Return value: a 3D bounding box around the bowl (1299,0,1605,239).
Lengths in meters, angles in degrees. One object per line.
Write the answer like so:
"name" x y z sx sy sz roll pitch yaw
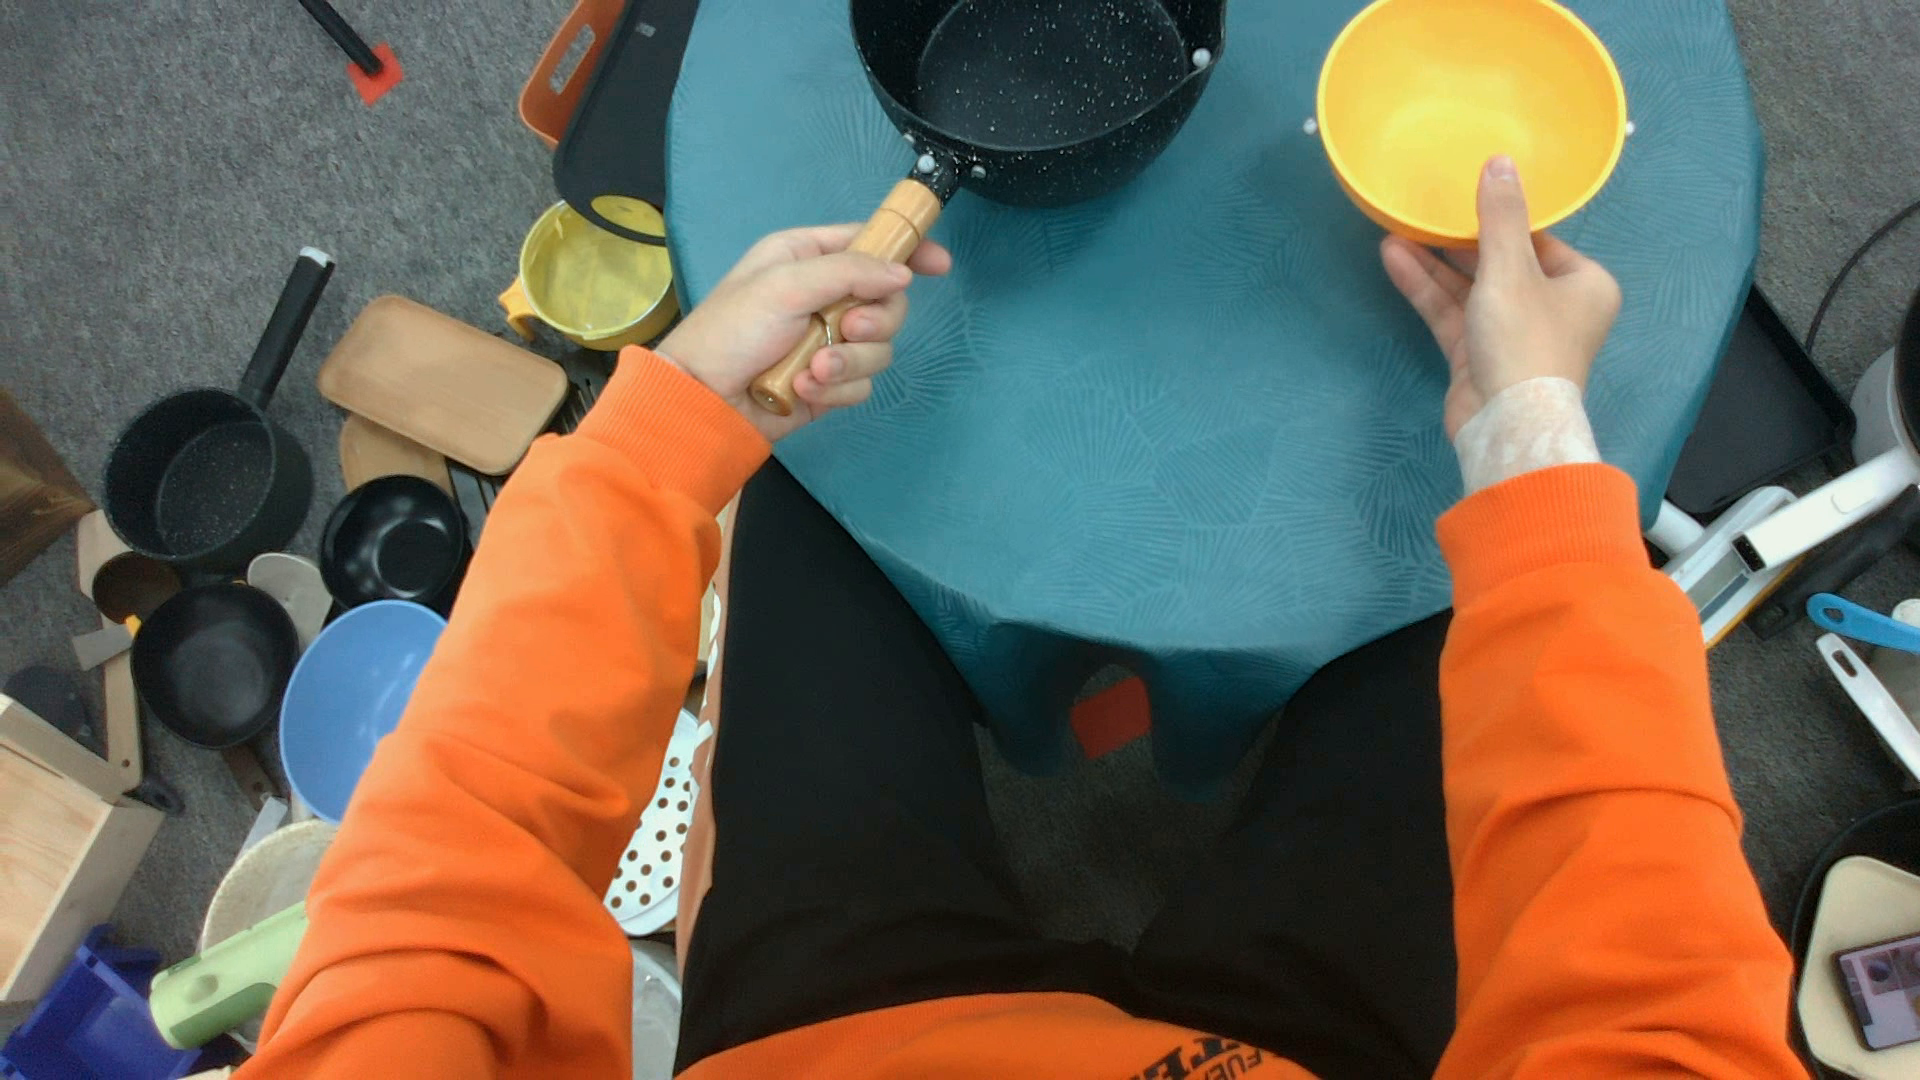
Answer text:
"bowl" 0.242 -0.208 0.700 0.145 0.060 0.145 -2 73 5

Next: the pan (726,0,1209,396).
"pan" -0.004 -0.200 0.685 0.207 0.108 0.343 26 78 14
